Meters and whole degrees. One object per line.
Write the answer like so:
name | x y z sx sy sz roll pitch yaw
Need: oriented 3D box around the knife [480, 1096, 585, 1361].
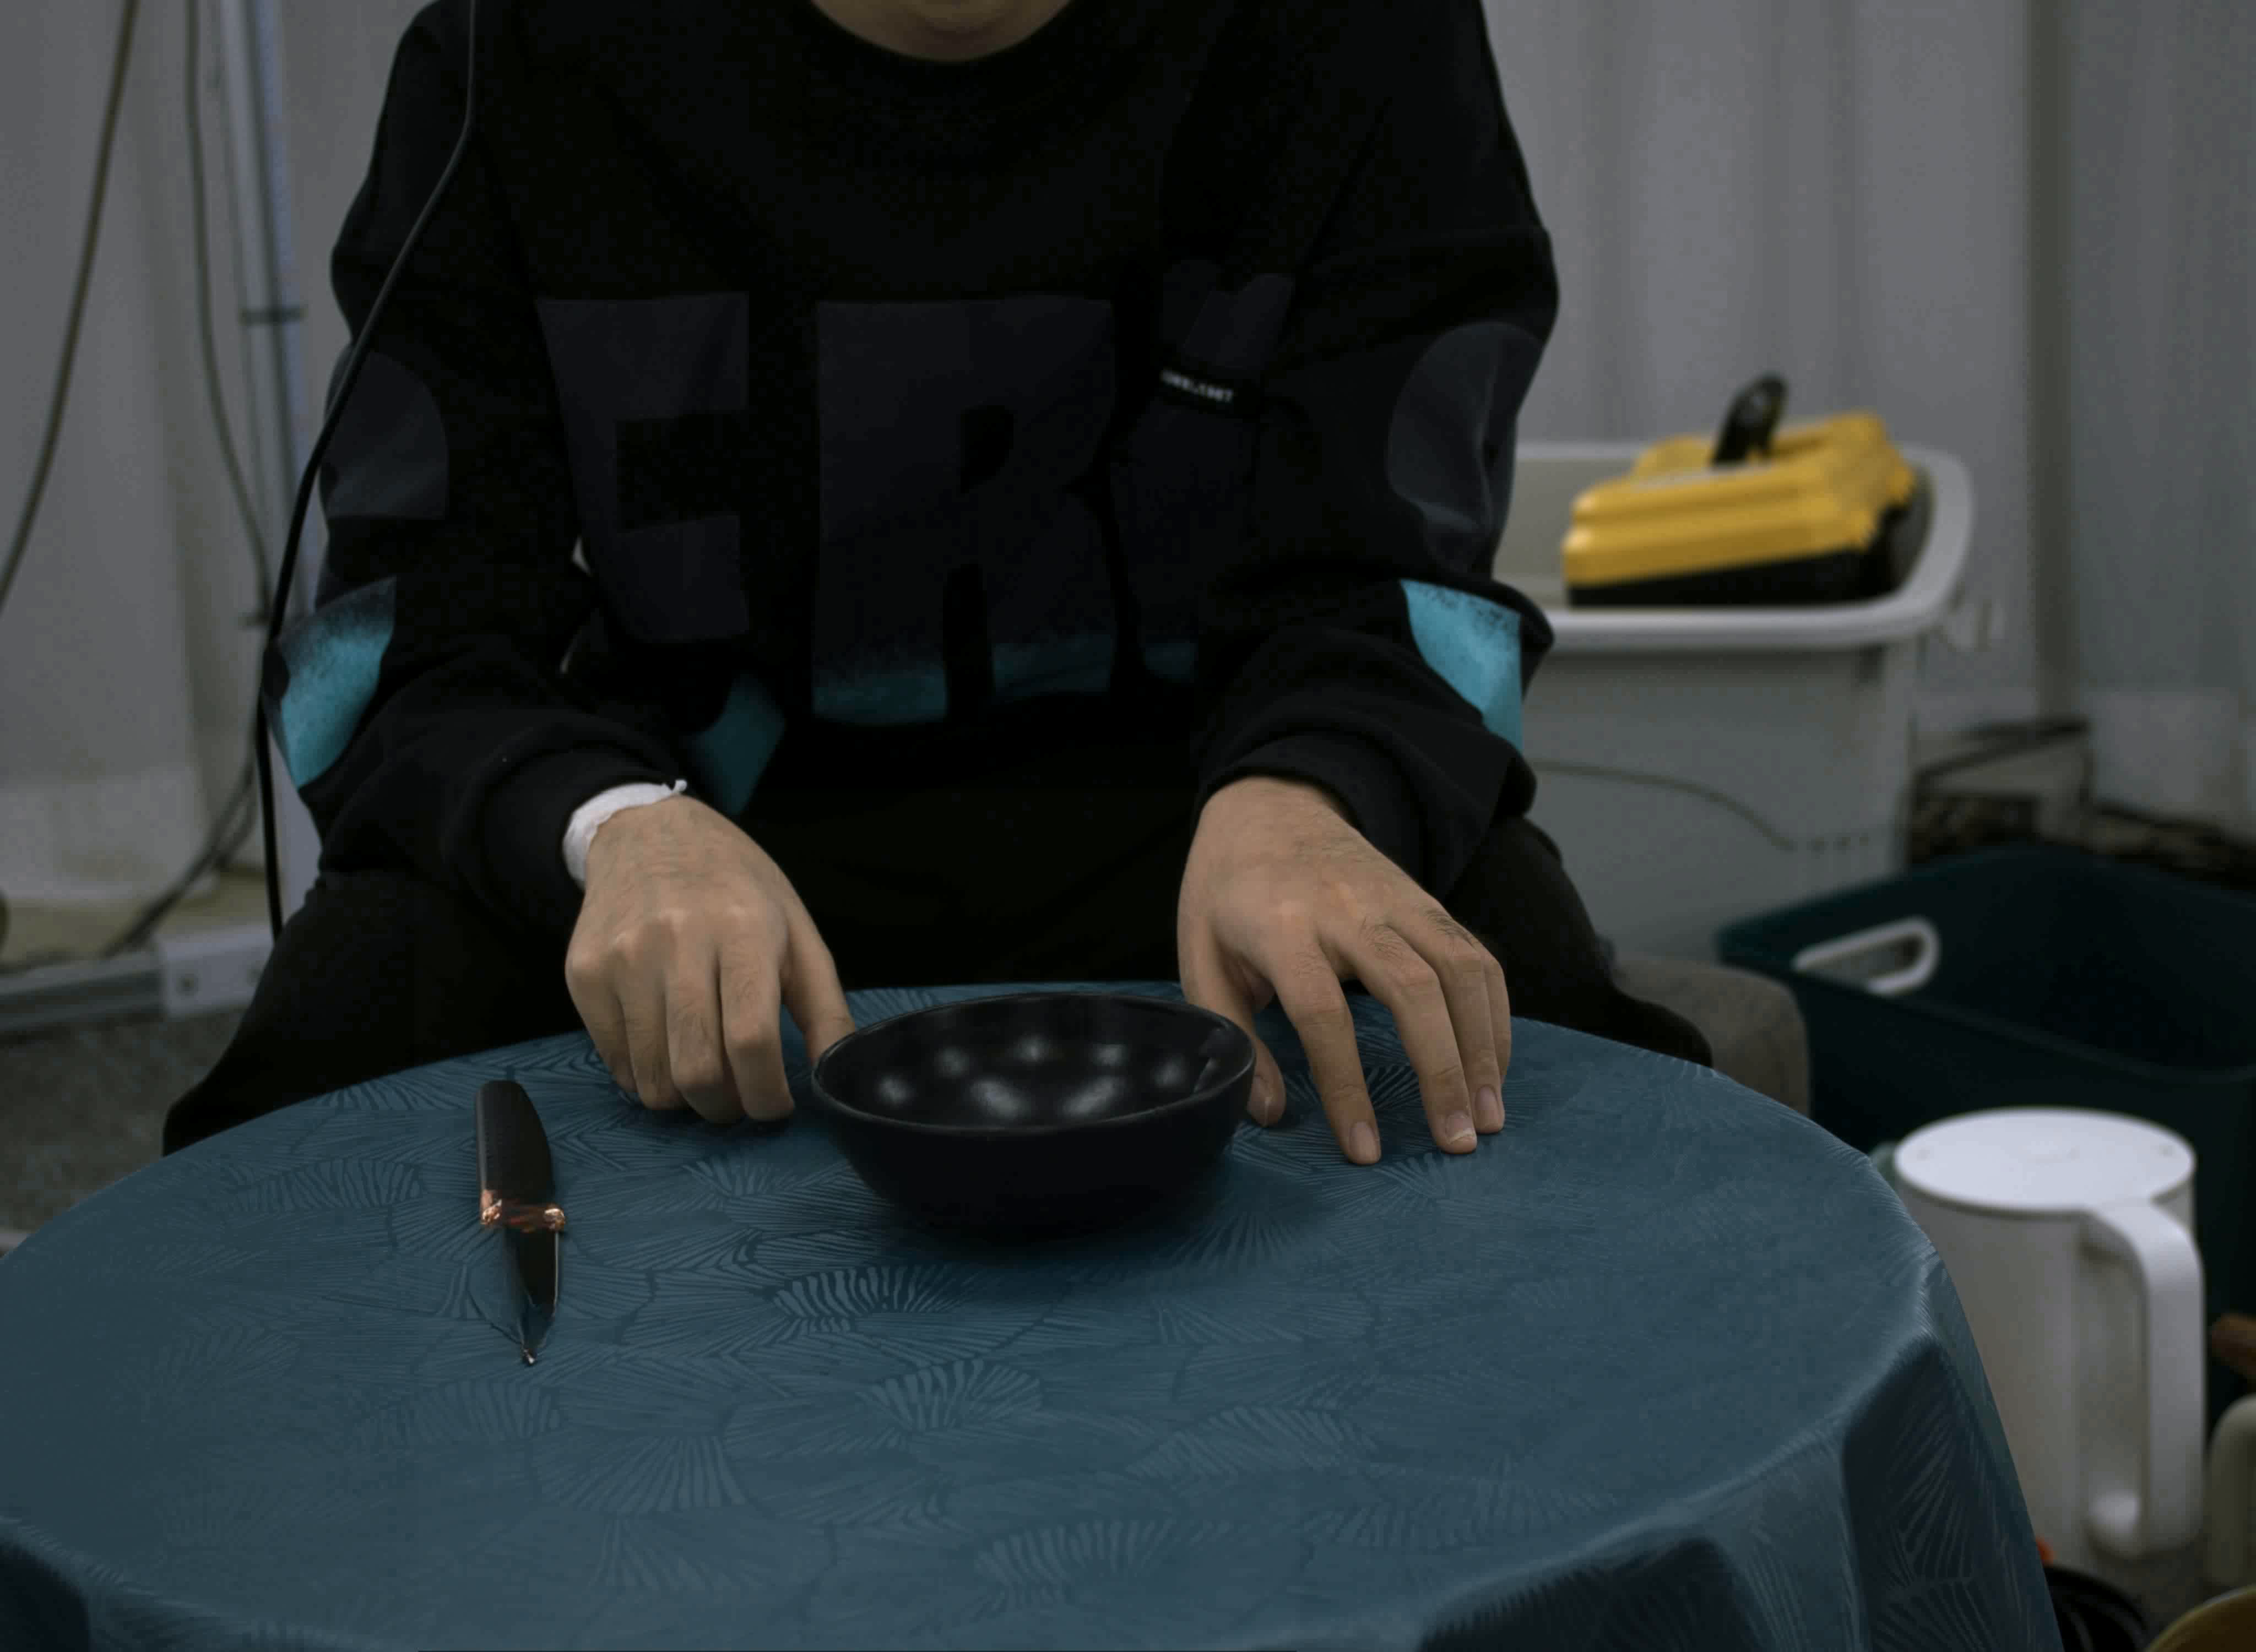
knife | -0.185 0.124 1.695 0.026 0.017 0.227 -2 16 -8

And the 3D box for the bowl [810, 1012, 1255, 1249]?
bowl | -0.028 0.098 1.699 0.139 0.049 0.141 -5 11 1
